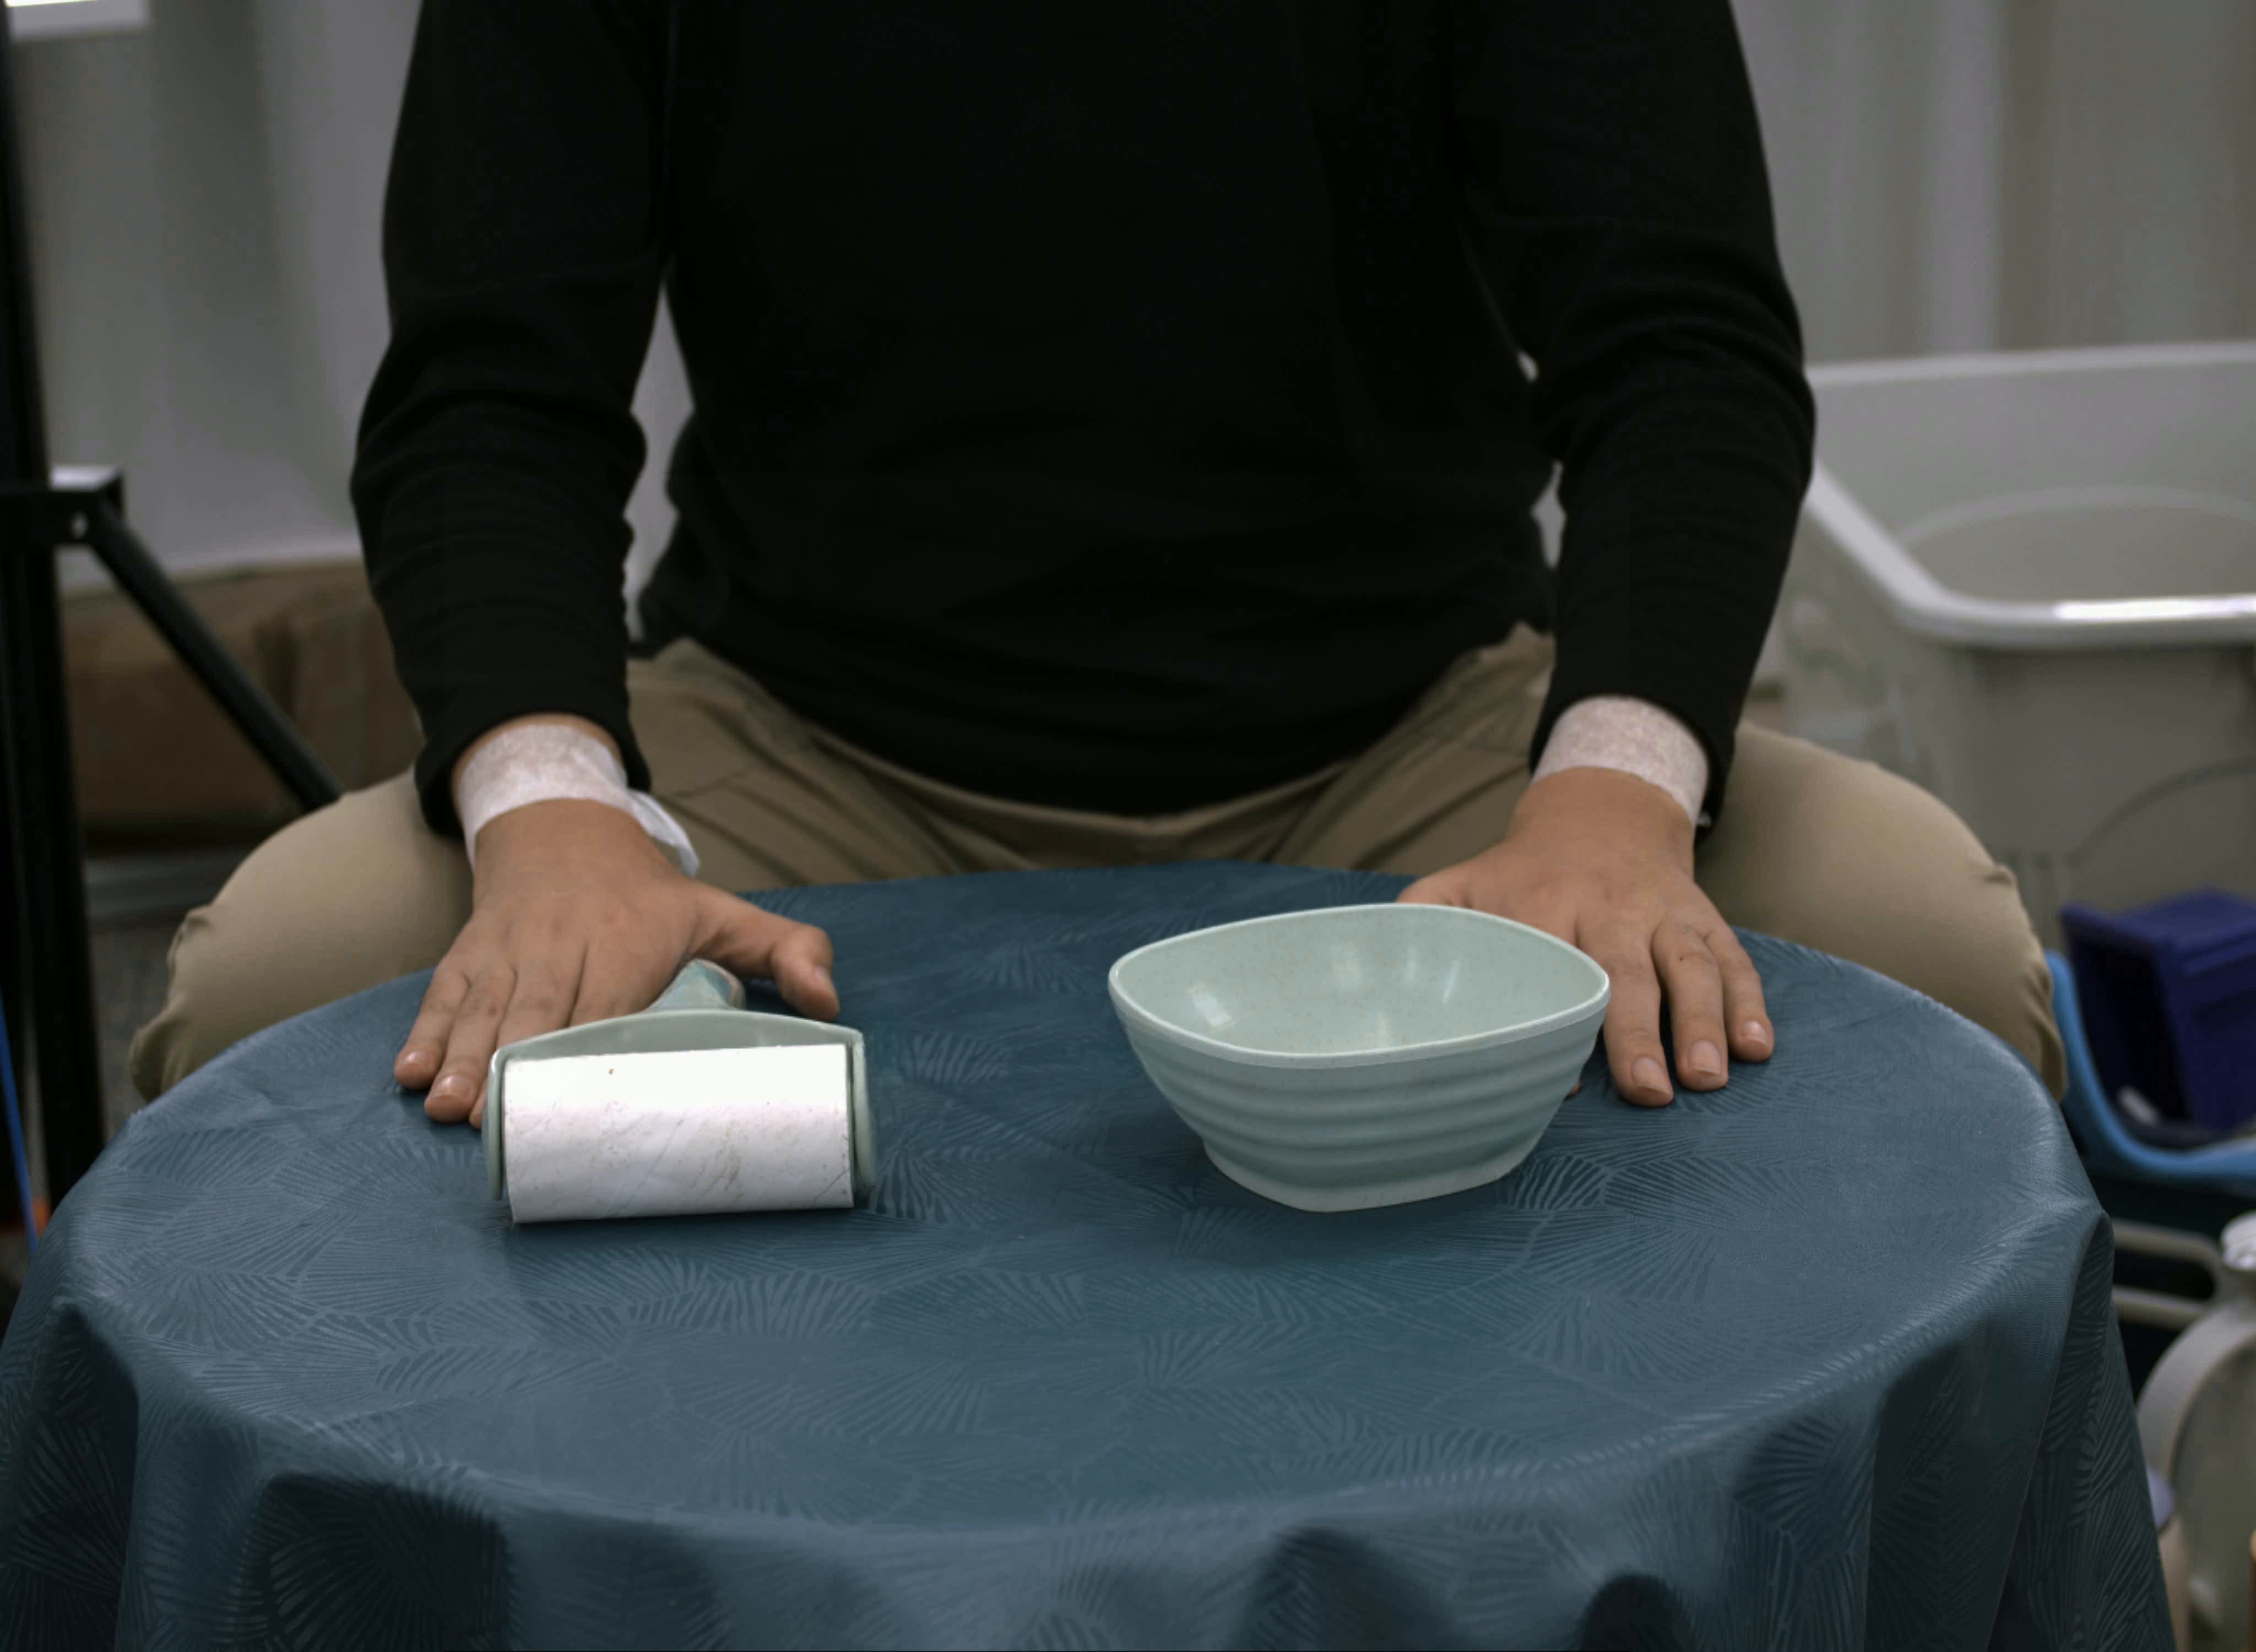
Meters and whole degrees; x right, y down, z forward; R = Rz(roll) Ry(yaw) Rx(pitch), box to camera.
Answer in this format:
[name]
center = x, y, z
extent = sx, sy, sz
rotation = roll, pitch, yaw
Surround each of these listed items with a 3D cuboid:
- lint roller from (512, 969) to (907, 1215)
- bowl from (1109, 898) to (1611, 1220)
[lint roller]
center = -0.125, 0.070, 1.627
extent = 0.116, 0.048, 0.198
rotation = -4, 14, -1
[bowl]
center = 0.069, 0.072, 1.569
extent = 0.151, 0.058, 0.152
rotation = -3, 17, 0
